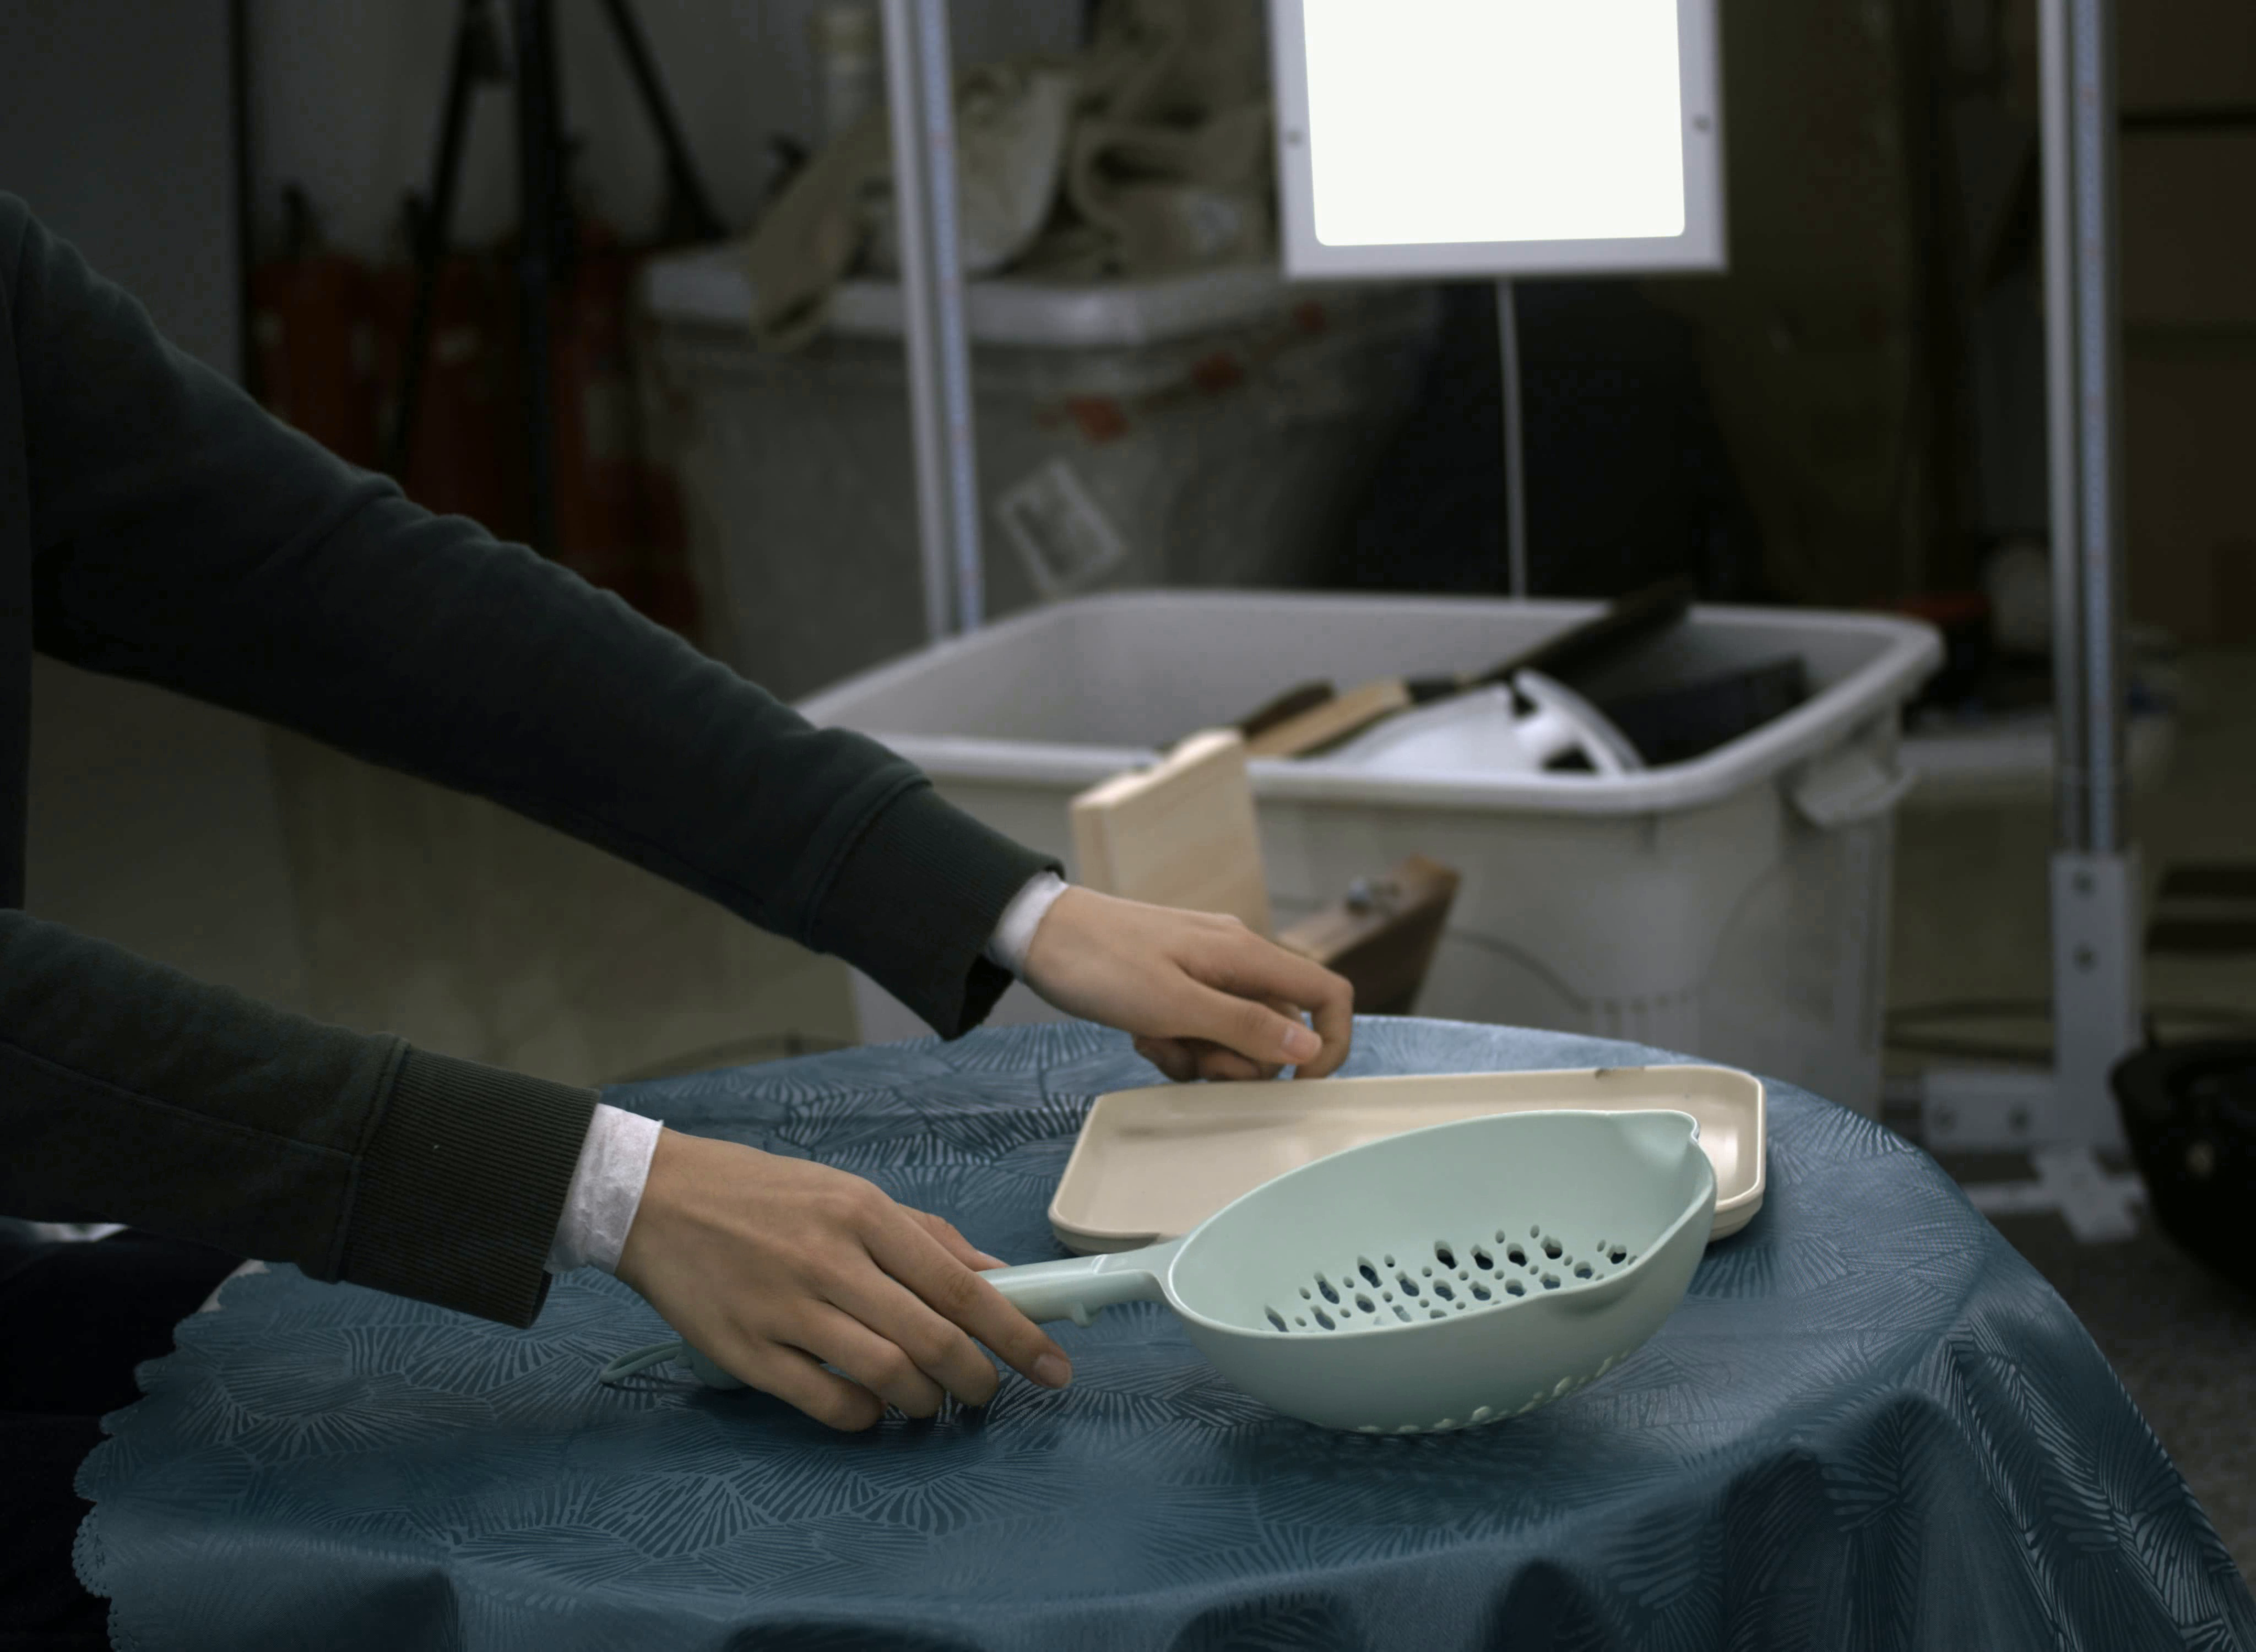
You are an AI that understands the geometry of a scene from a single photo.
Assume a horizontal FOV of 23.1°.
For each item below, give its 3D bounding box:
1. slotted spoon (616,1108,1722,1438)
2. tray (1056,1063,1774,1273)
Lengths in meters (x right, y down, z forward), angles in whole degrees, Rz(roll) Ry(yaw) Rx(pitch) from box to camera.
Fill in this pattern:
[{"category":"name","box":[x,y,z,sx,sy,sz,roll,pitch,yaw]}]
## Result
[{"category":"slotted spoon","box":[0.006,0.143,1.690,0.363,0.075,0.167,-1,18,18]},{"category":"tray","box":[0.100,0.117,1.867,0.241,0.017,0.170,-4,14,9]}]
